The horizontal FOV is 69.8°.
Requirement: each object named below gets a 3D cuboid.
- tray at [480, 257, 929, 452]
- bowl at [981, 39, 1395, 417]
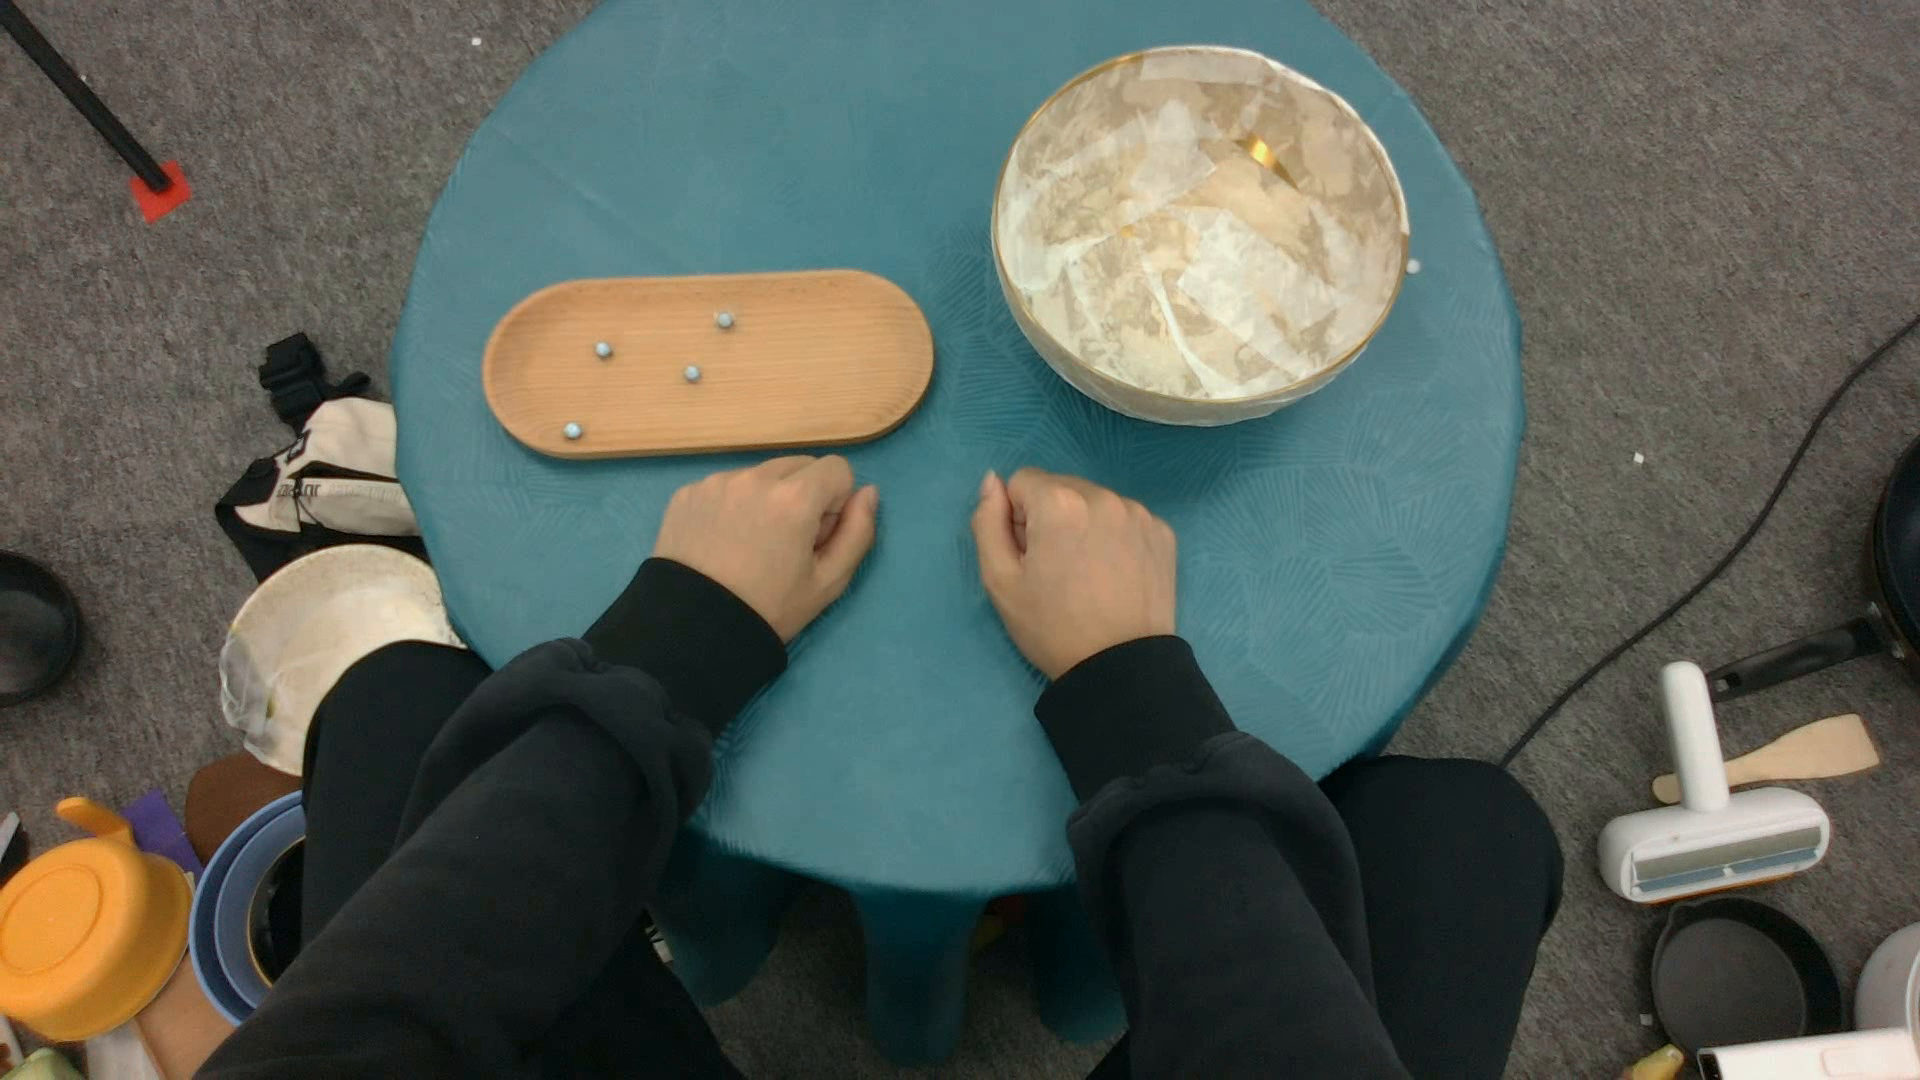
[{"bbox_3d":[-0.132,-0.097,0.720,0.231,0.020,0.102,-4,71,-6],"label":"tray"},{"bbox_3d":[0.106,-0.144,0.706,0.215,0.094,0.215,1,70,-3],"label":"bowl"}]
